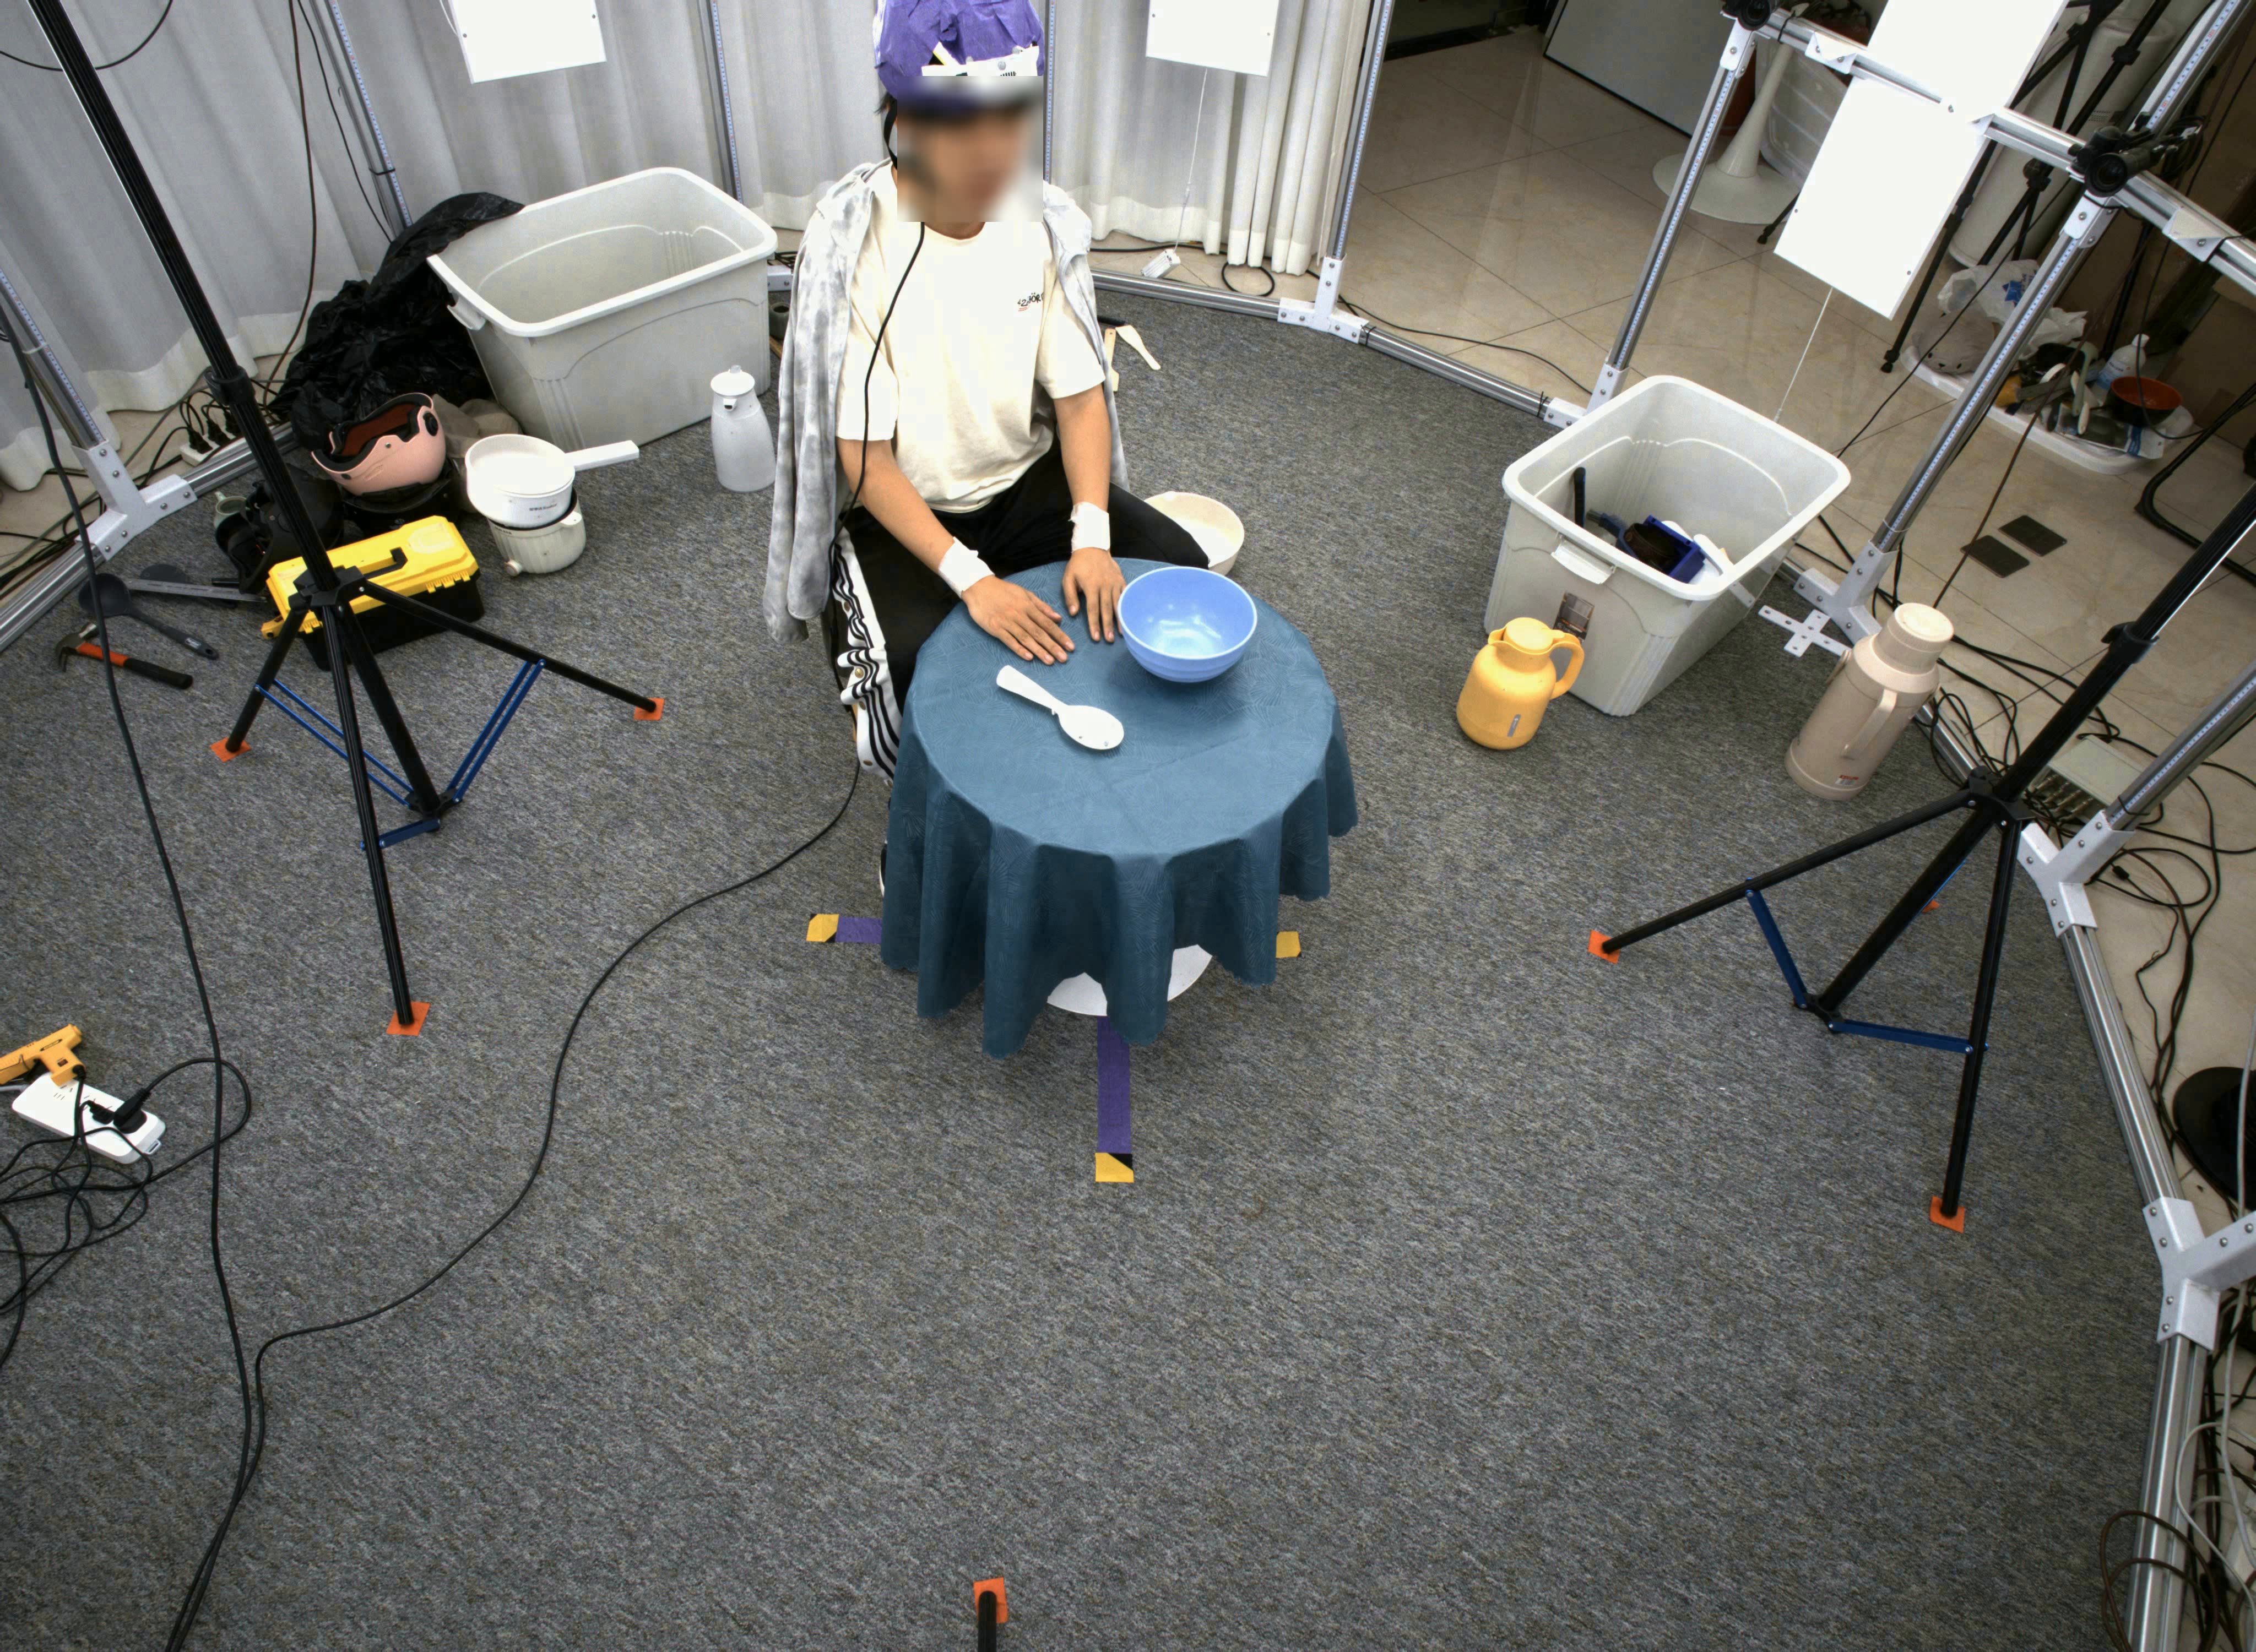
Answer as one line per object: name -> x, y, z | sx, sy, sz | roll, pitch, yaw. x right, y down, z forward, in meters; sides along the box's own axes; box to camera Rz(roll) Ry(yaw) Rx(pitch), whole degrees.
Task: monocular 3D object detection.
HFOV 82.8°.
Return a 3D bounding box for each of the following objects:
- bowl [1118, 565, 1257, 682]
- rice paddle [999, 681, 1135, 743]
bowl -> 0.082, -0.275, 1.843 | 0.196, 0.093, 0.201 | 2, 50, -2
rice paddle -> -0.084, -0.157, 1.778 | 0.207, 0.029, 0.070 | 21, 38, 18
